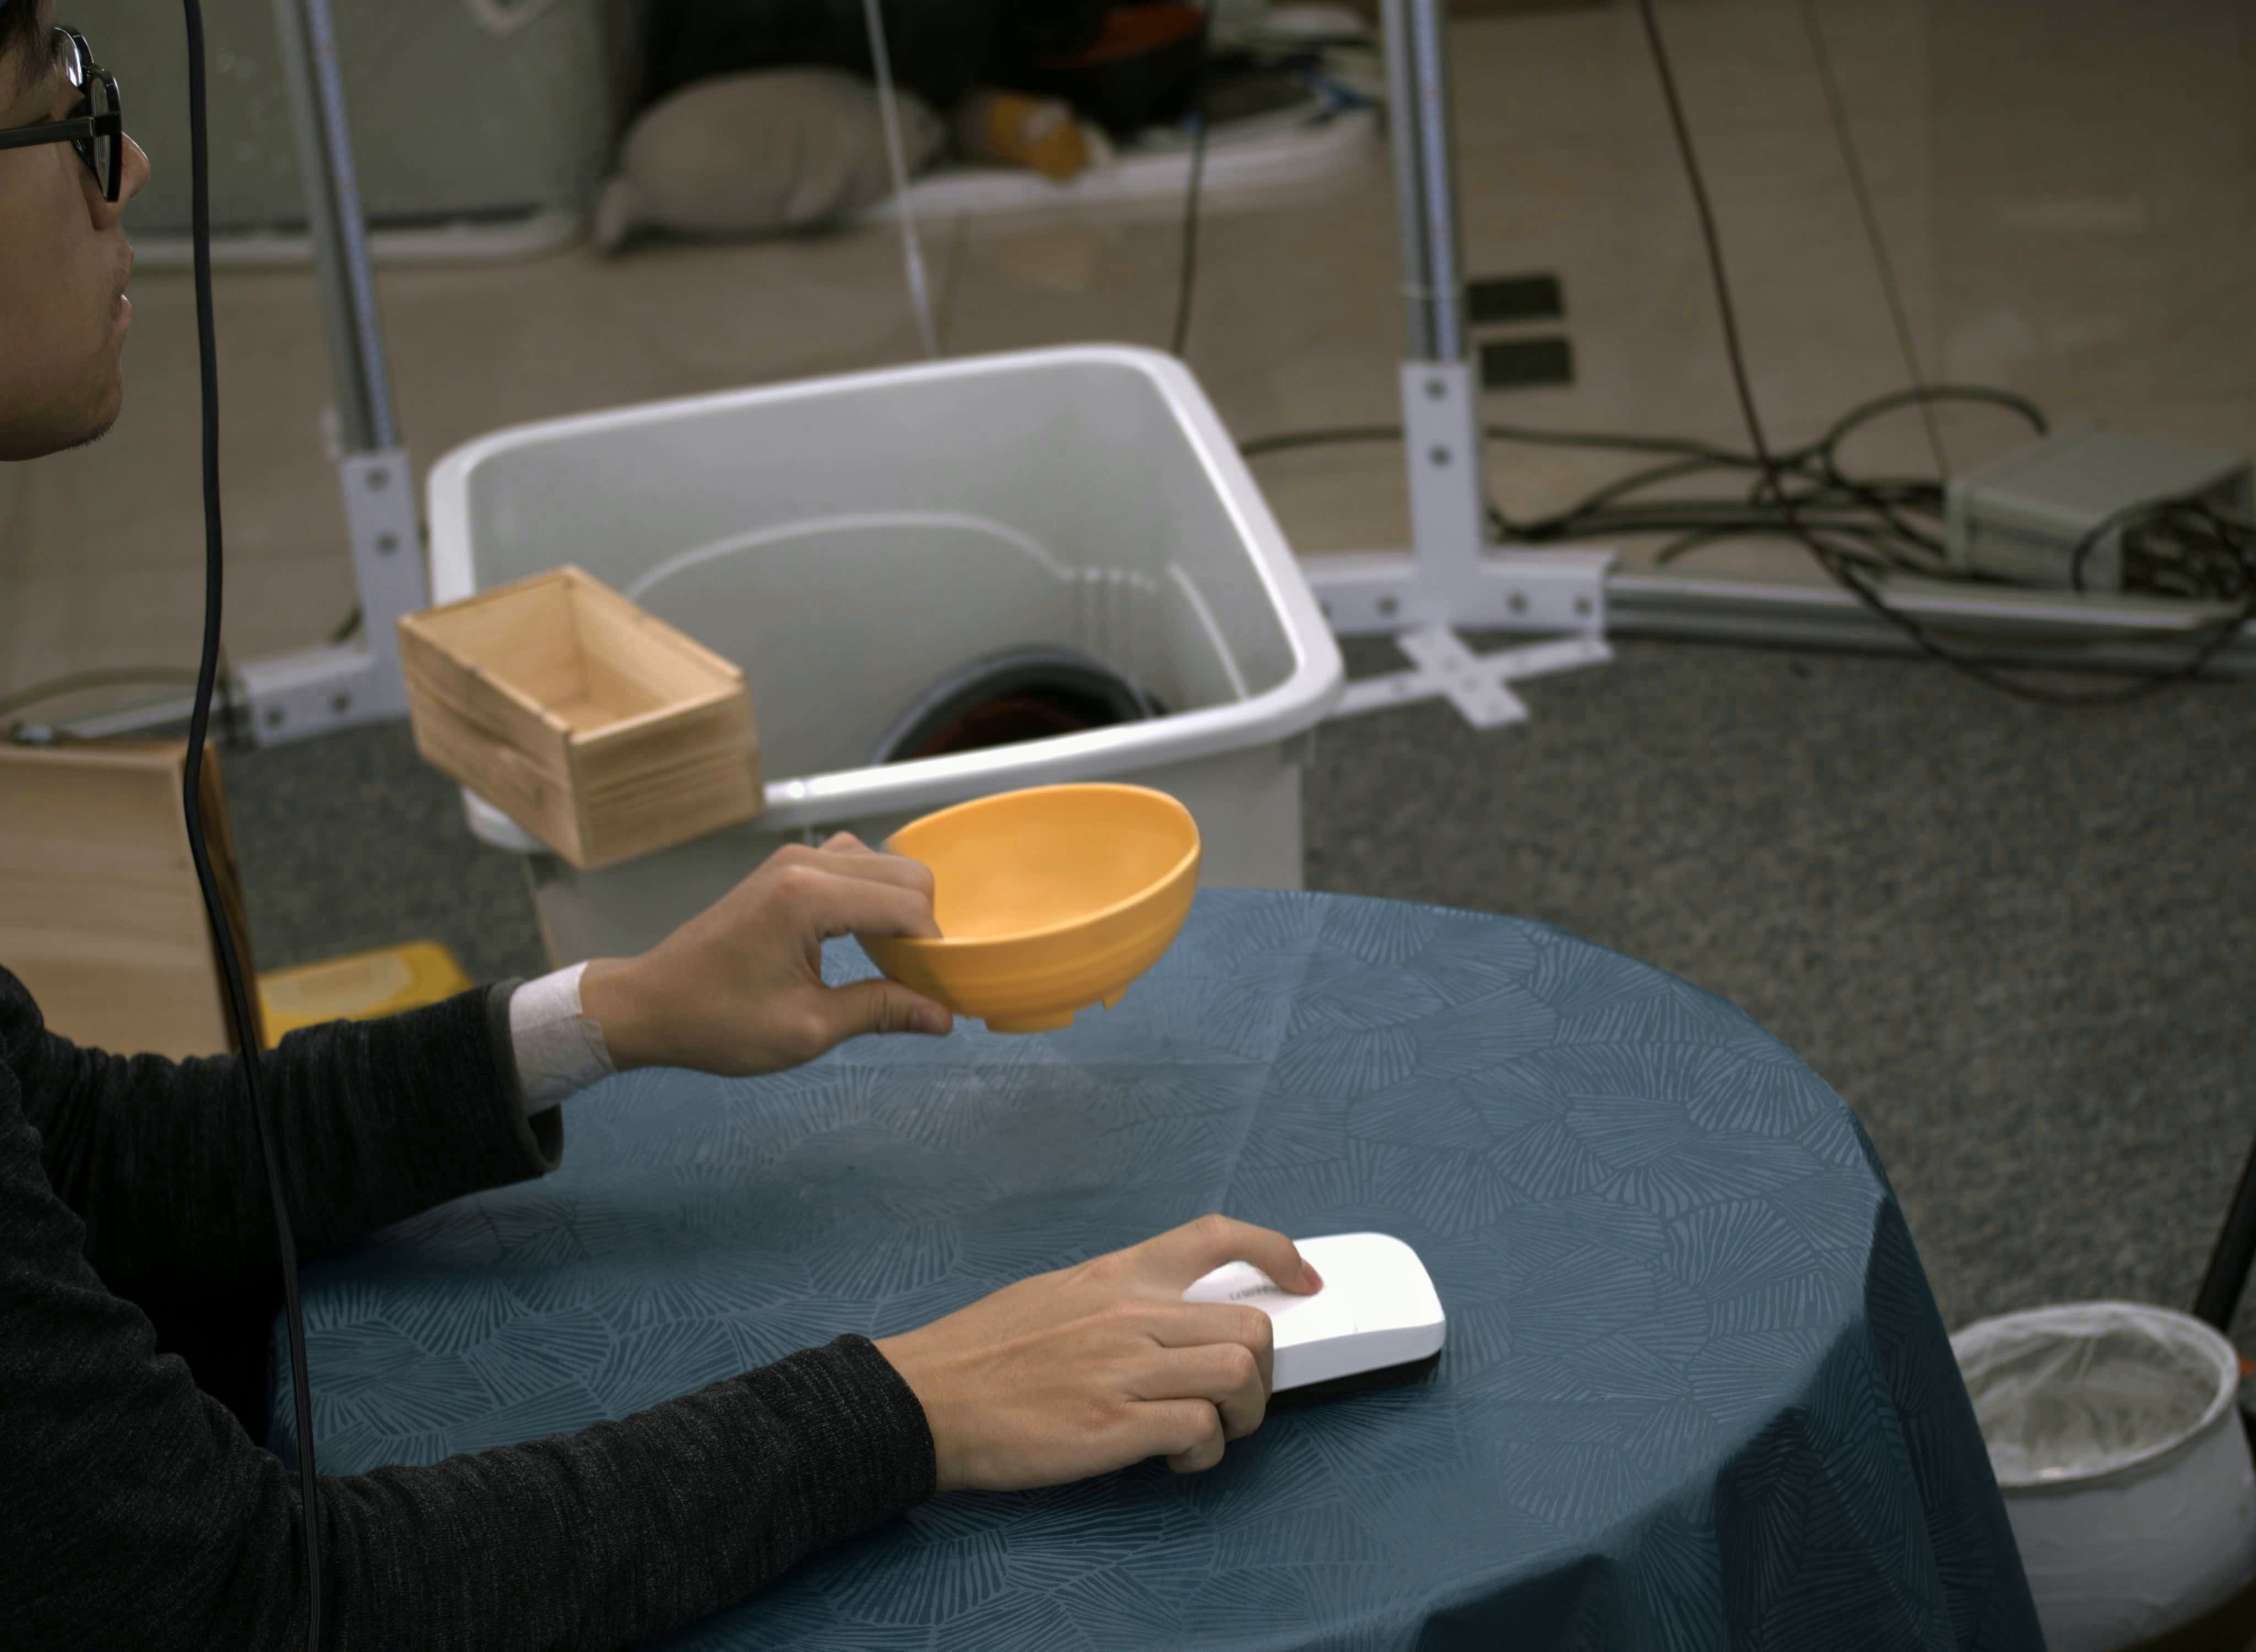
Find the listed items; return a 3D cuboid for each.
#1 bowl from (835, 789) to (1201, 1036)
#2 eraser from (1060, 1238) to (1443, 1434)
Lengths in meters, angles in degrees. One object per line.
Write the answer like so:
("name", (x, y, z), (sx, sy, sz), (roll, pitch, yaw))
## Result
("bowl", (-0.036, 0.040, 2.176), (0.145, 0.061, 0.143), (-12, 21, 5))
("eraser", (0.043, 0.176, 2.000), (0.131, 0.035, 0.062), (-10, 31, -14))
